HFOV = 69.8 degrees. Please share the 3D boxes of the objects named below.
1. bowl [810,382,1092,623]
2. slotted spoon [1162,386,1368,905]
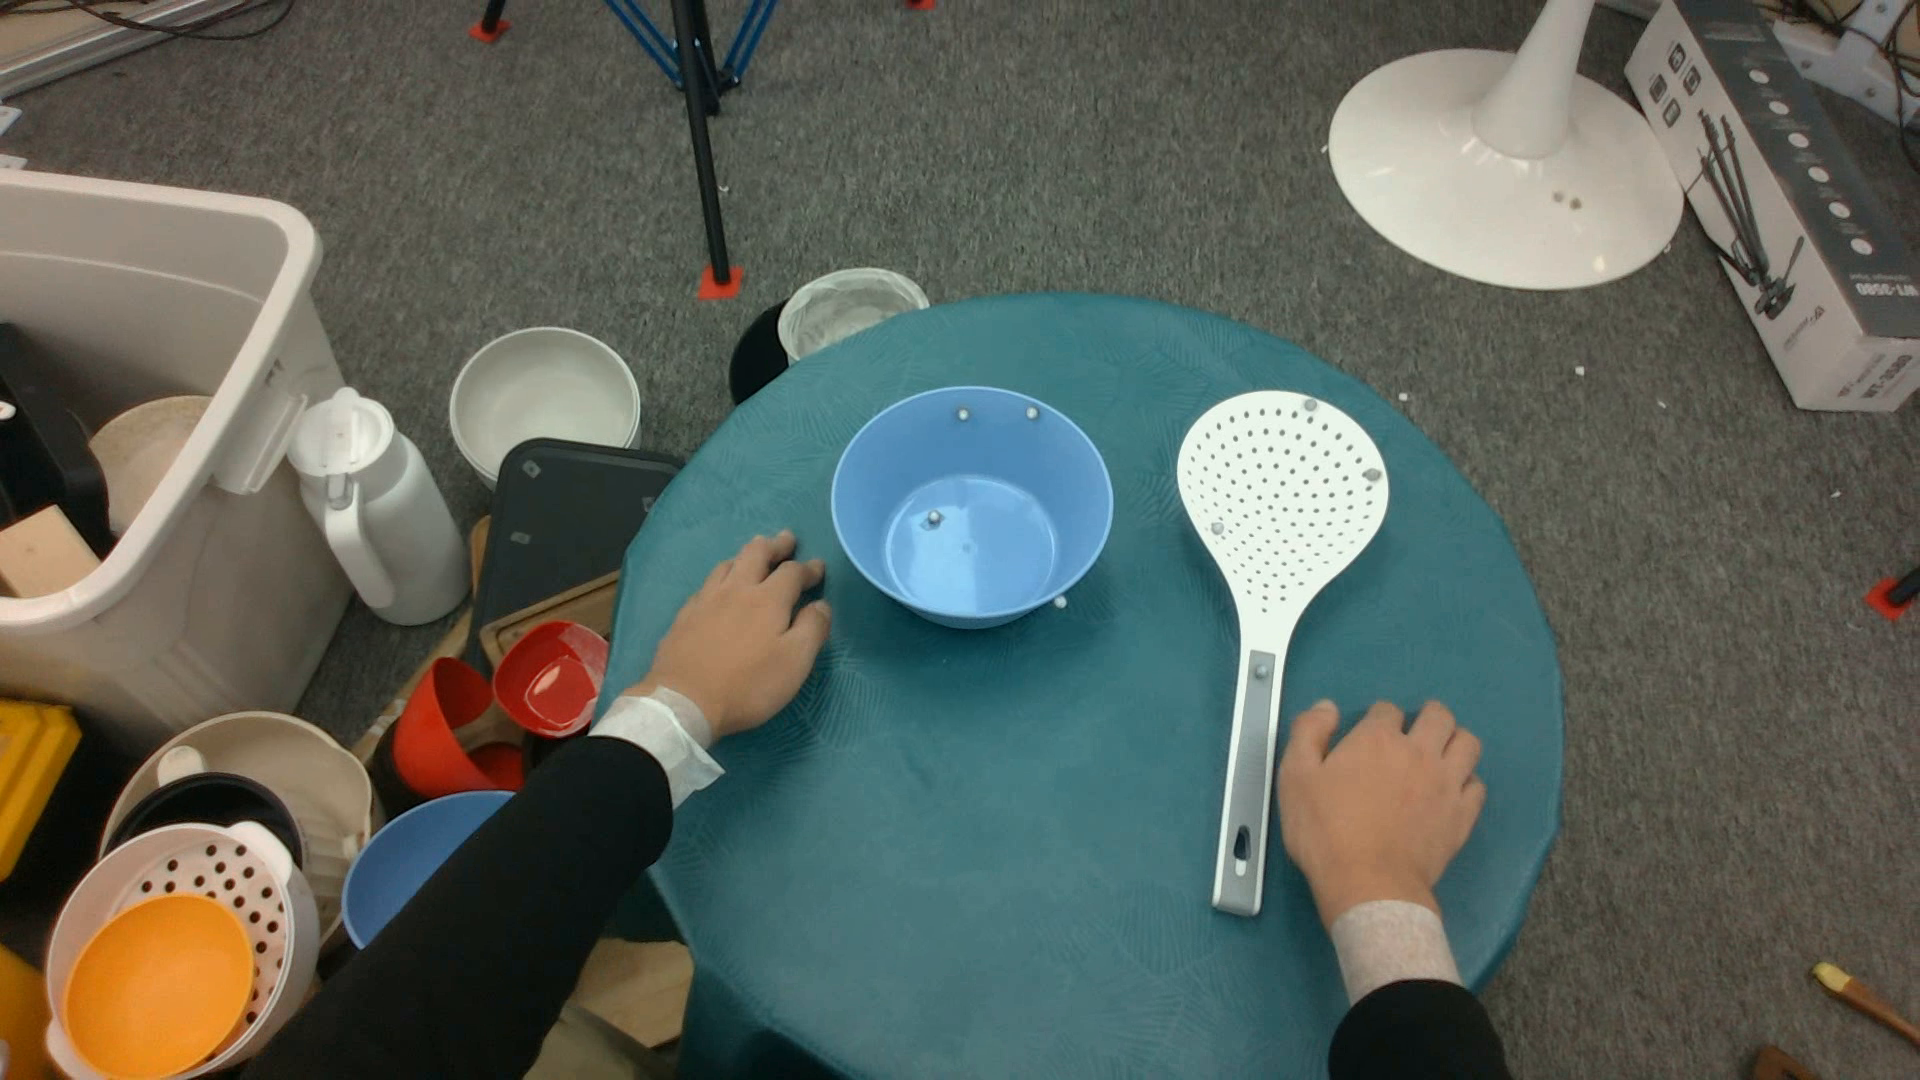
[{"bbox_3d":[-0.006,-0.014,0.879,0.176,0.070,0.177,1,57,-1],"label":"bowl"},{"bbox_3d":[0.179,0.053,0.858,0.136,0.045,0.351,11,57,3],"label":"slotted spoon"}]
